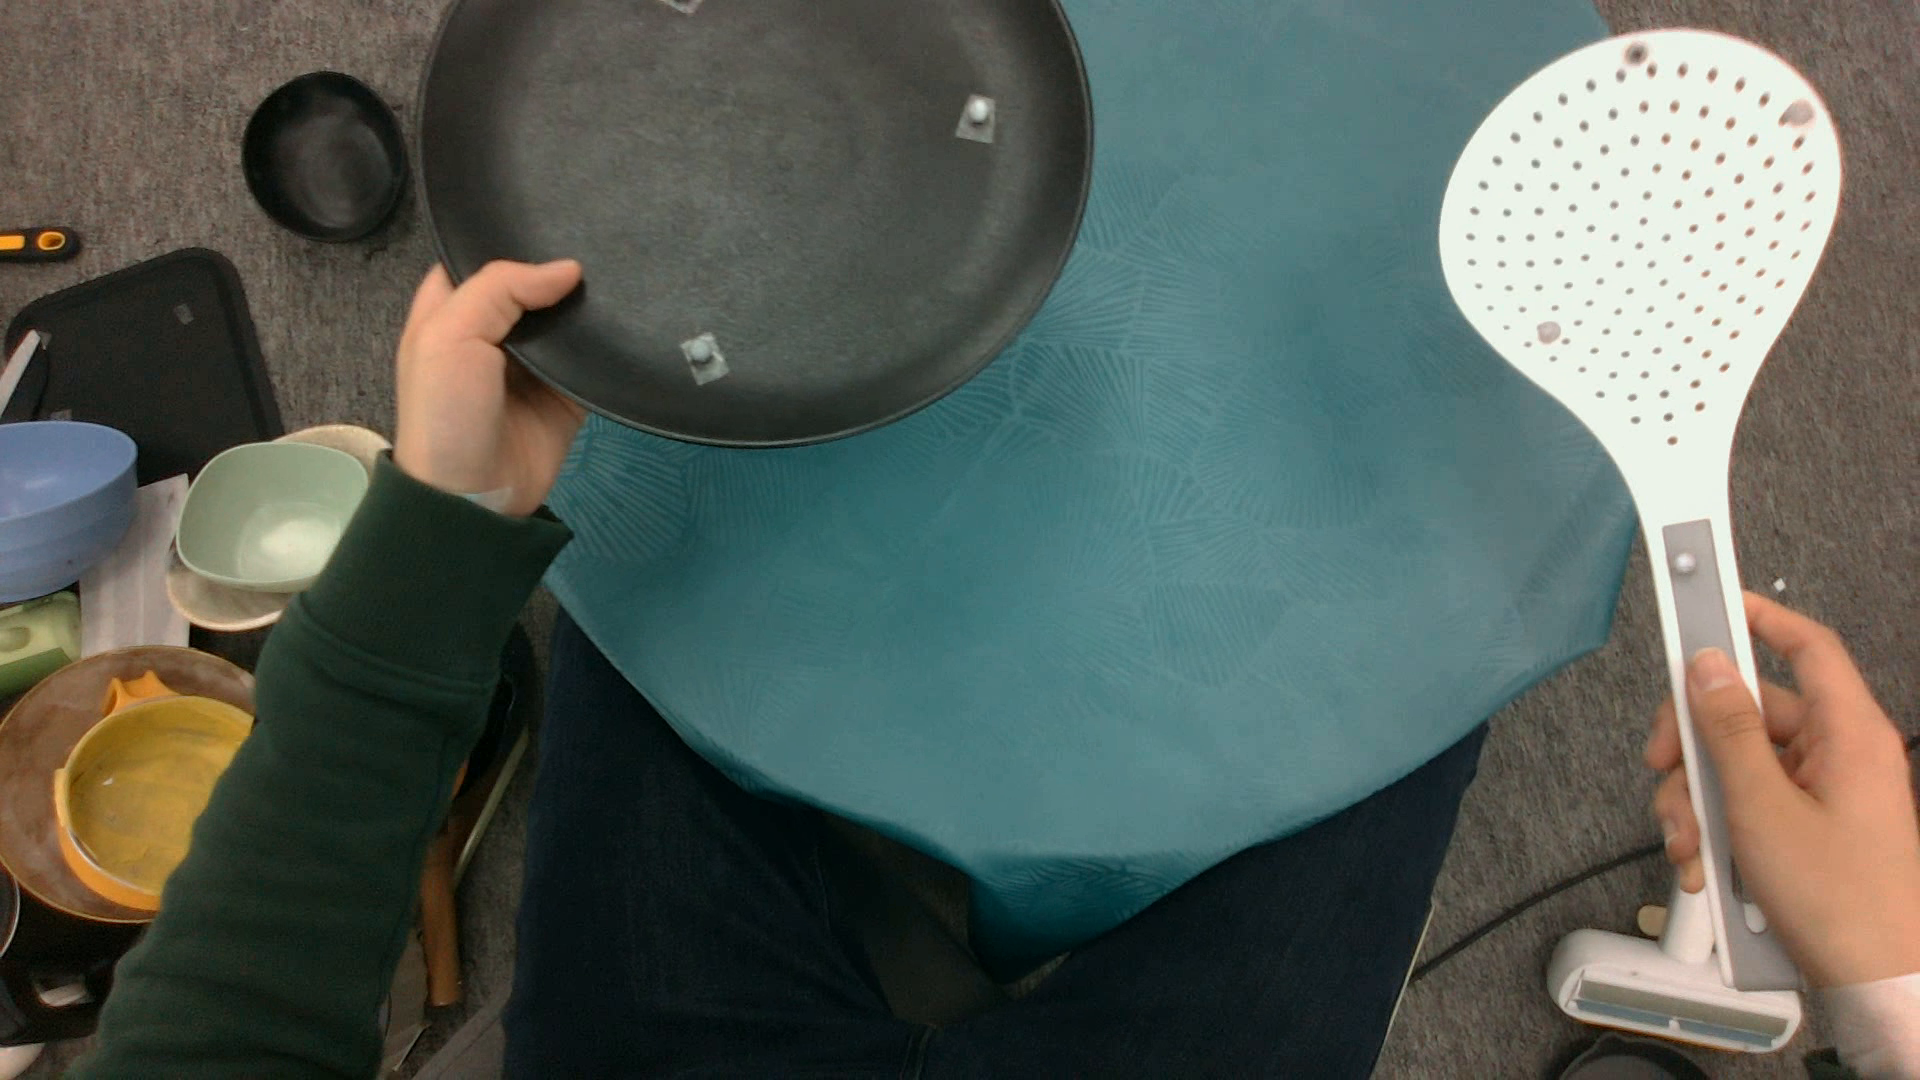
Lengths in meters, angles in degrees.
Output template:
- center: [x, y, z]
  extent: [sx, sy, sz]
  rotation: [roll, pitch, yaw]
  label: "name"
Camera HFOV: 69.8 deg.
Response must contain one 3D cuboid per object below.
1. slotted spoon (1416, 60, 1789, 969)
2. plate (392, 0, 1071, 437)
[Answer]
- center: [0.256, -0.024, 0.514]
  extent: [0.135, 0.046, 0.351]
  rotation: [-13, 64, 29]
  label: "slotted spoon"
- center: [-0.081, -0.153, 0.508]
  extent: [0.244, 0.023, 0.245]
  rotation: [1, 78, -5]
  label: "plate"
